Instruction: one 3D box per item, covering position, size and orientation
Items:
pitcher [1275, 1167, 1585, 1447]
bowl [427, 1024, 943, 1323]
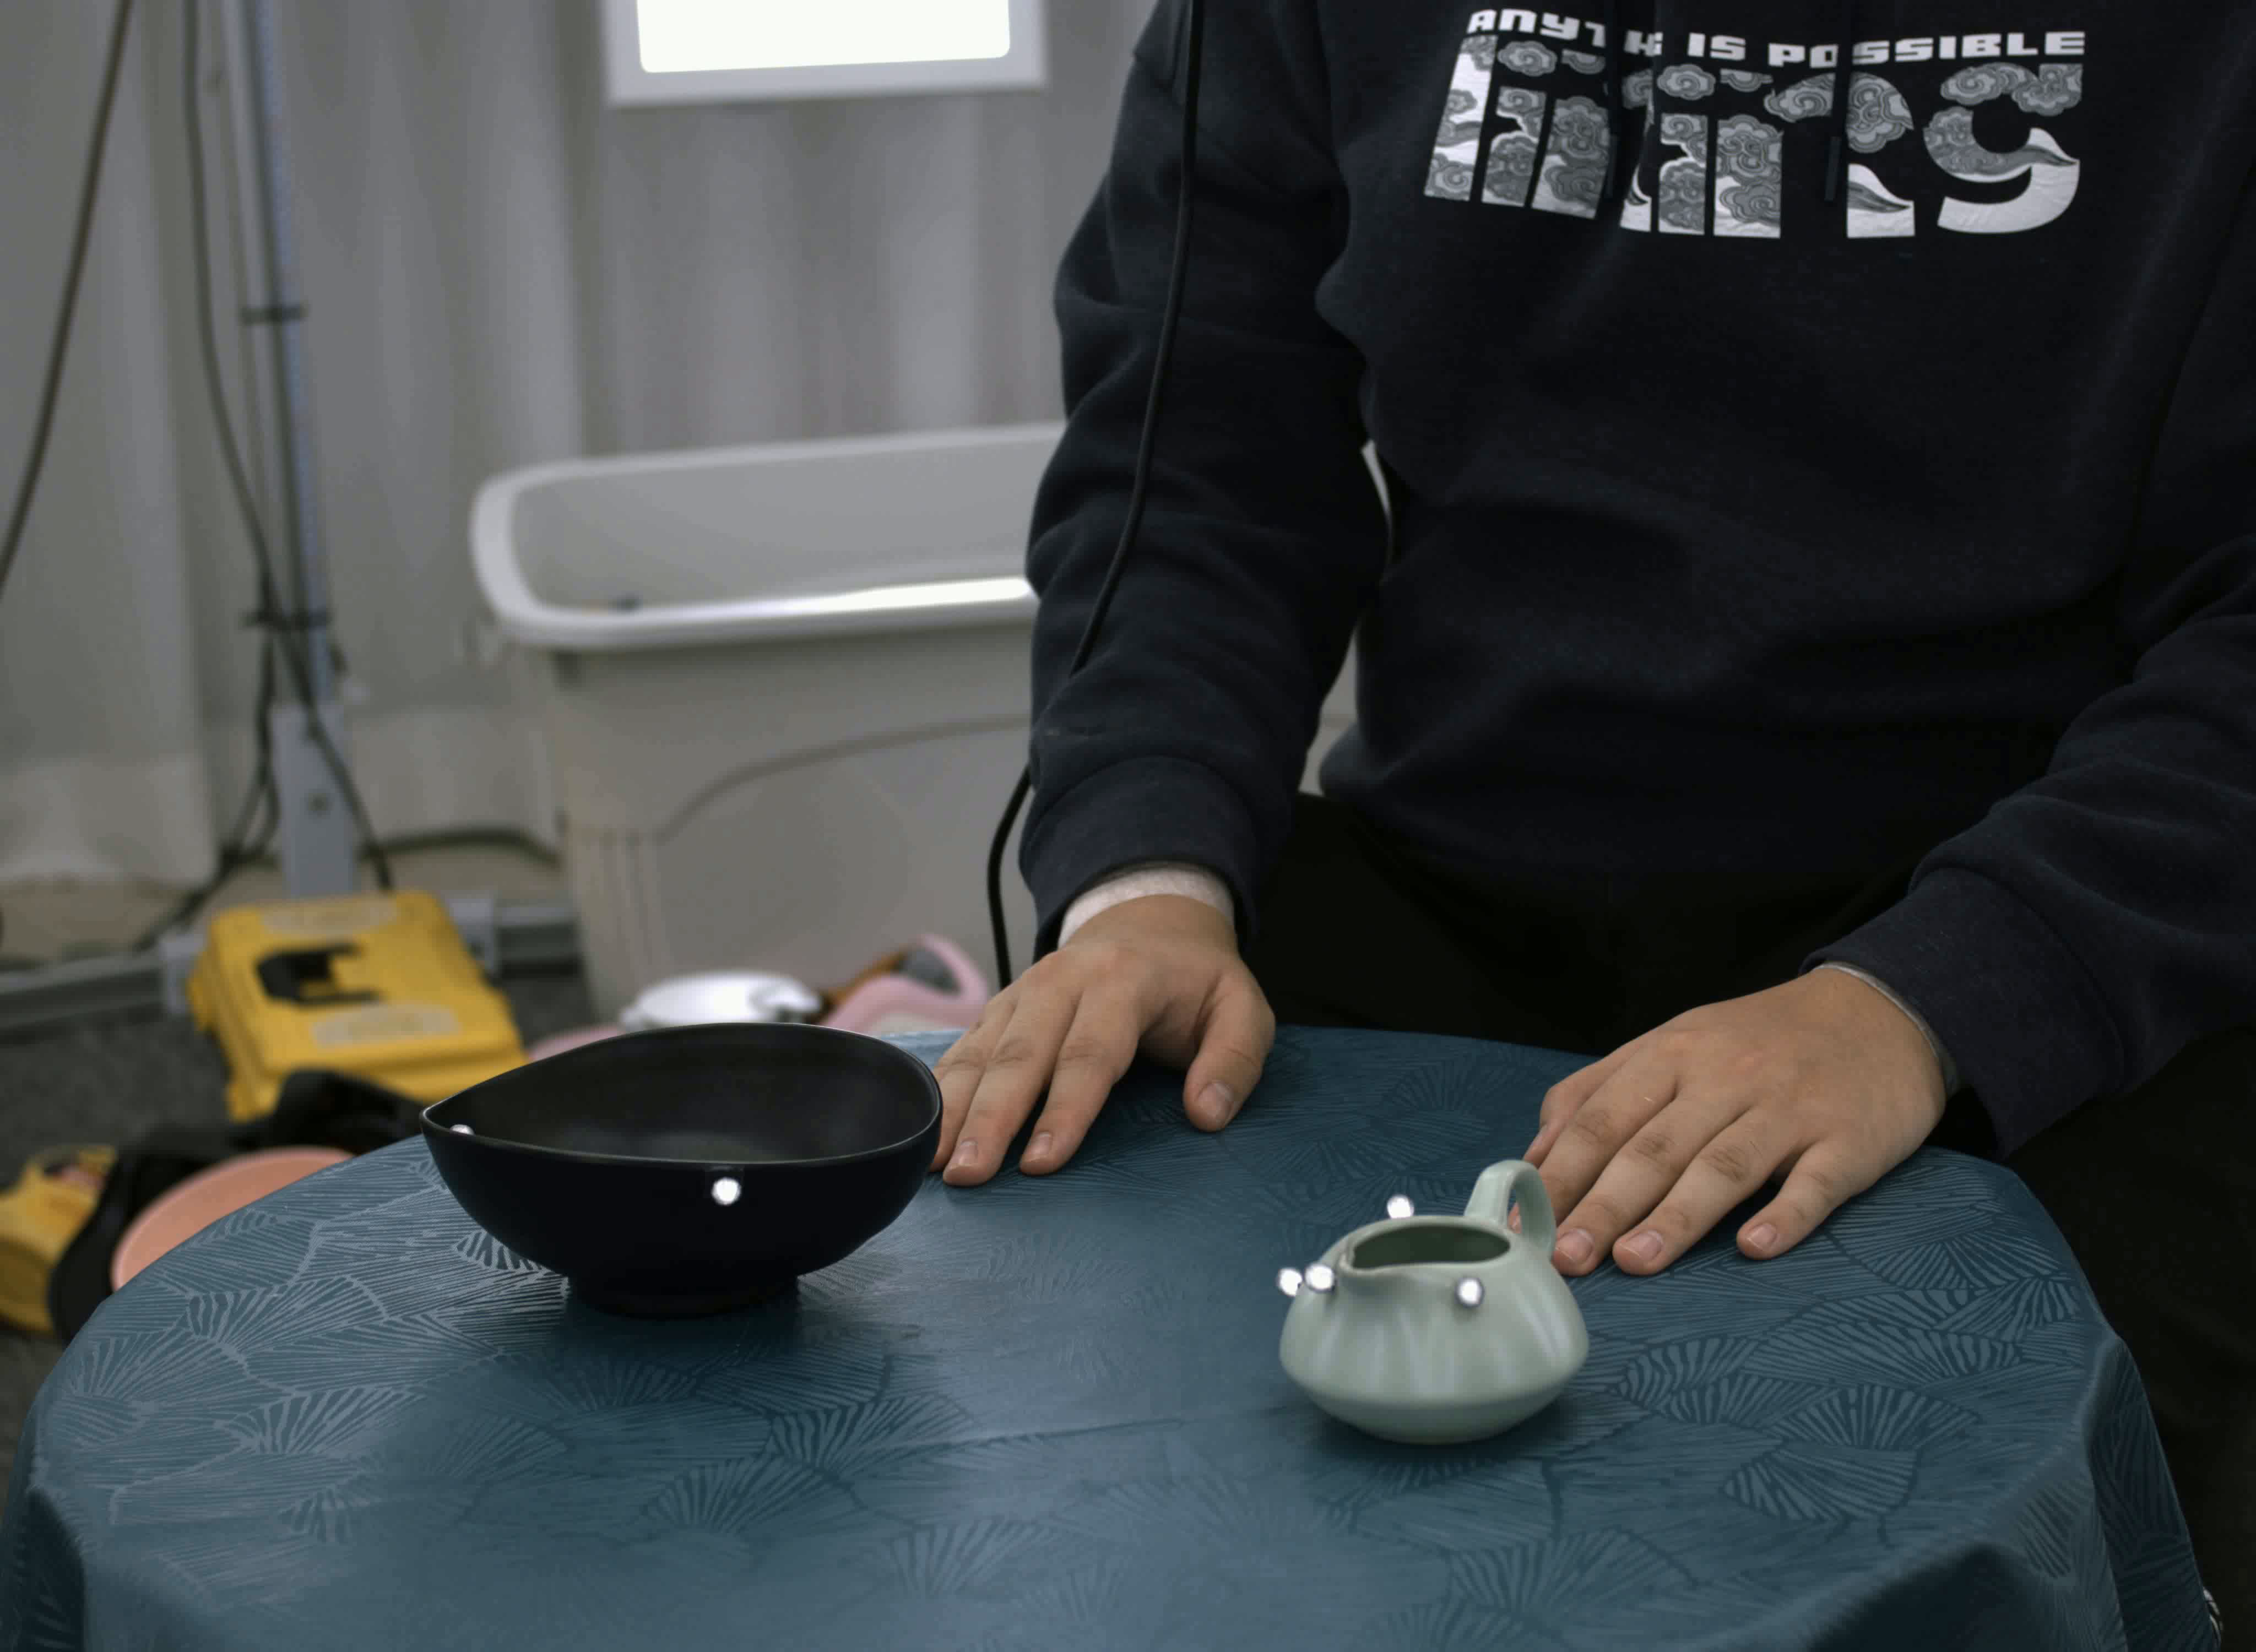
[{"bbox_3d":[0.089,0.134,1.522,0.086,0.060,0.108,7,15,29],"label":"pitcher"},{"bbox_3d":[-0.133,0.109,1.643,0.171,0.066,0.137,6,16,31],"label":"bowl"}]
